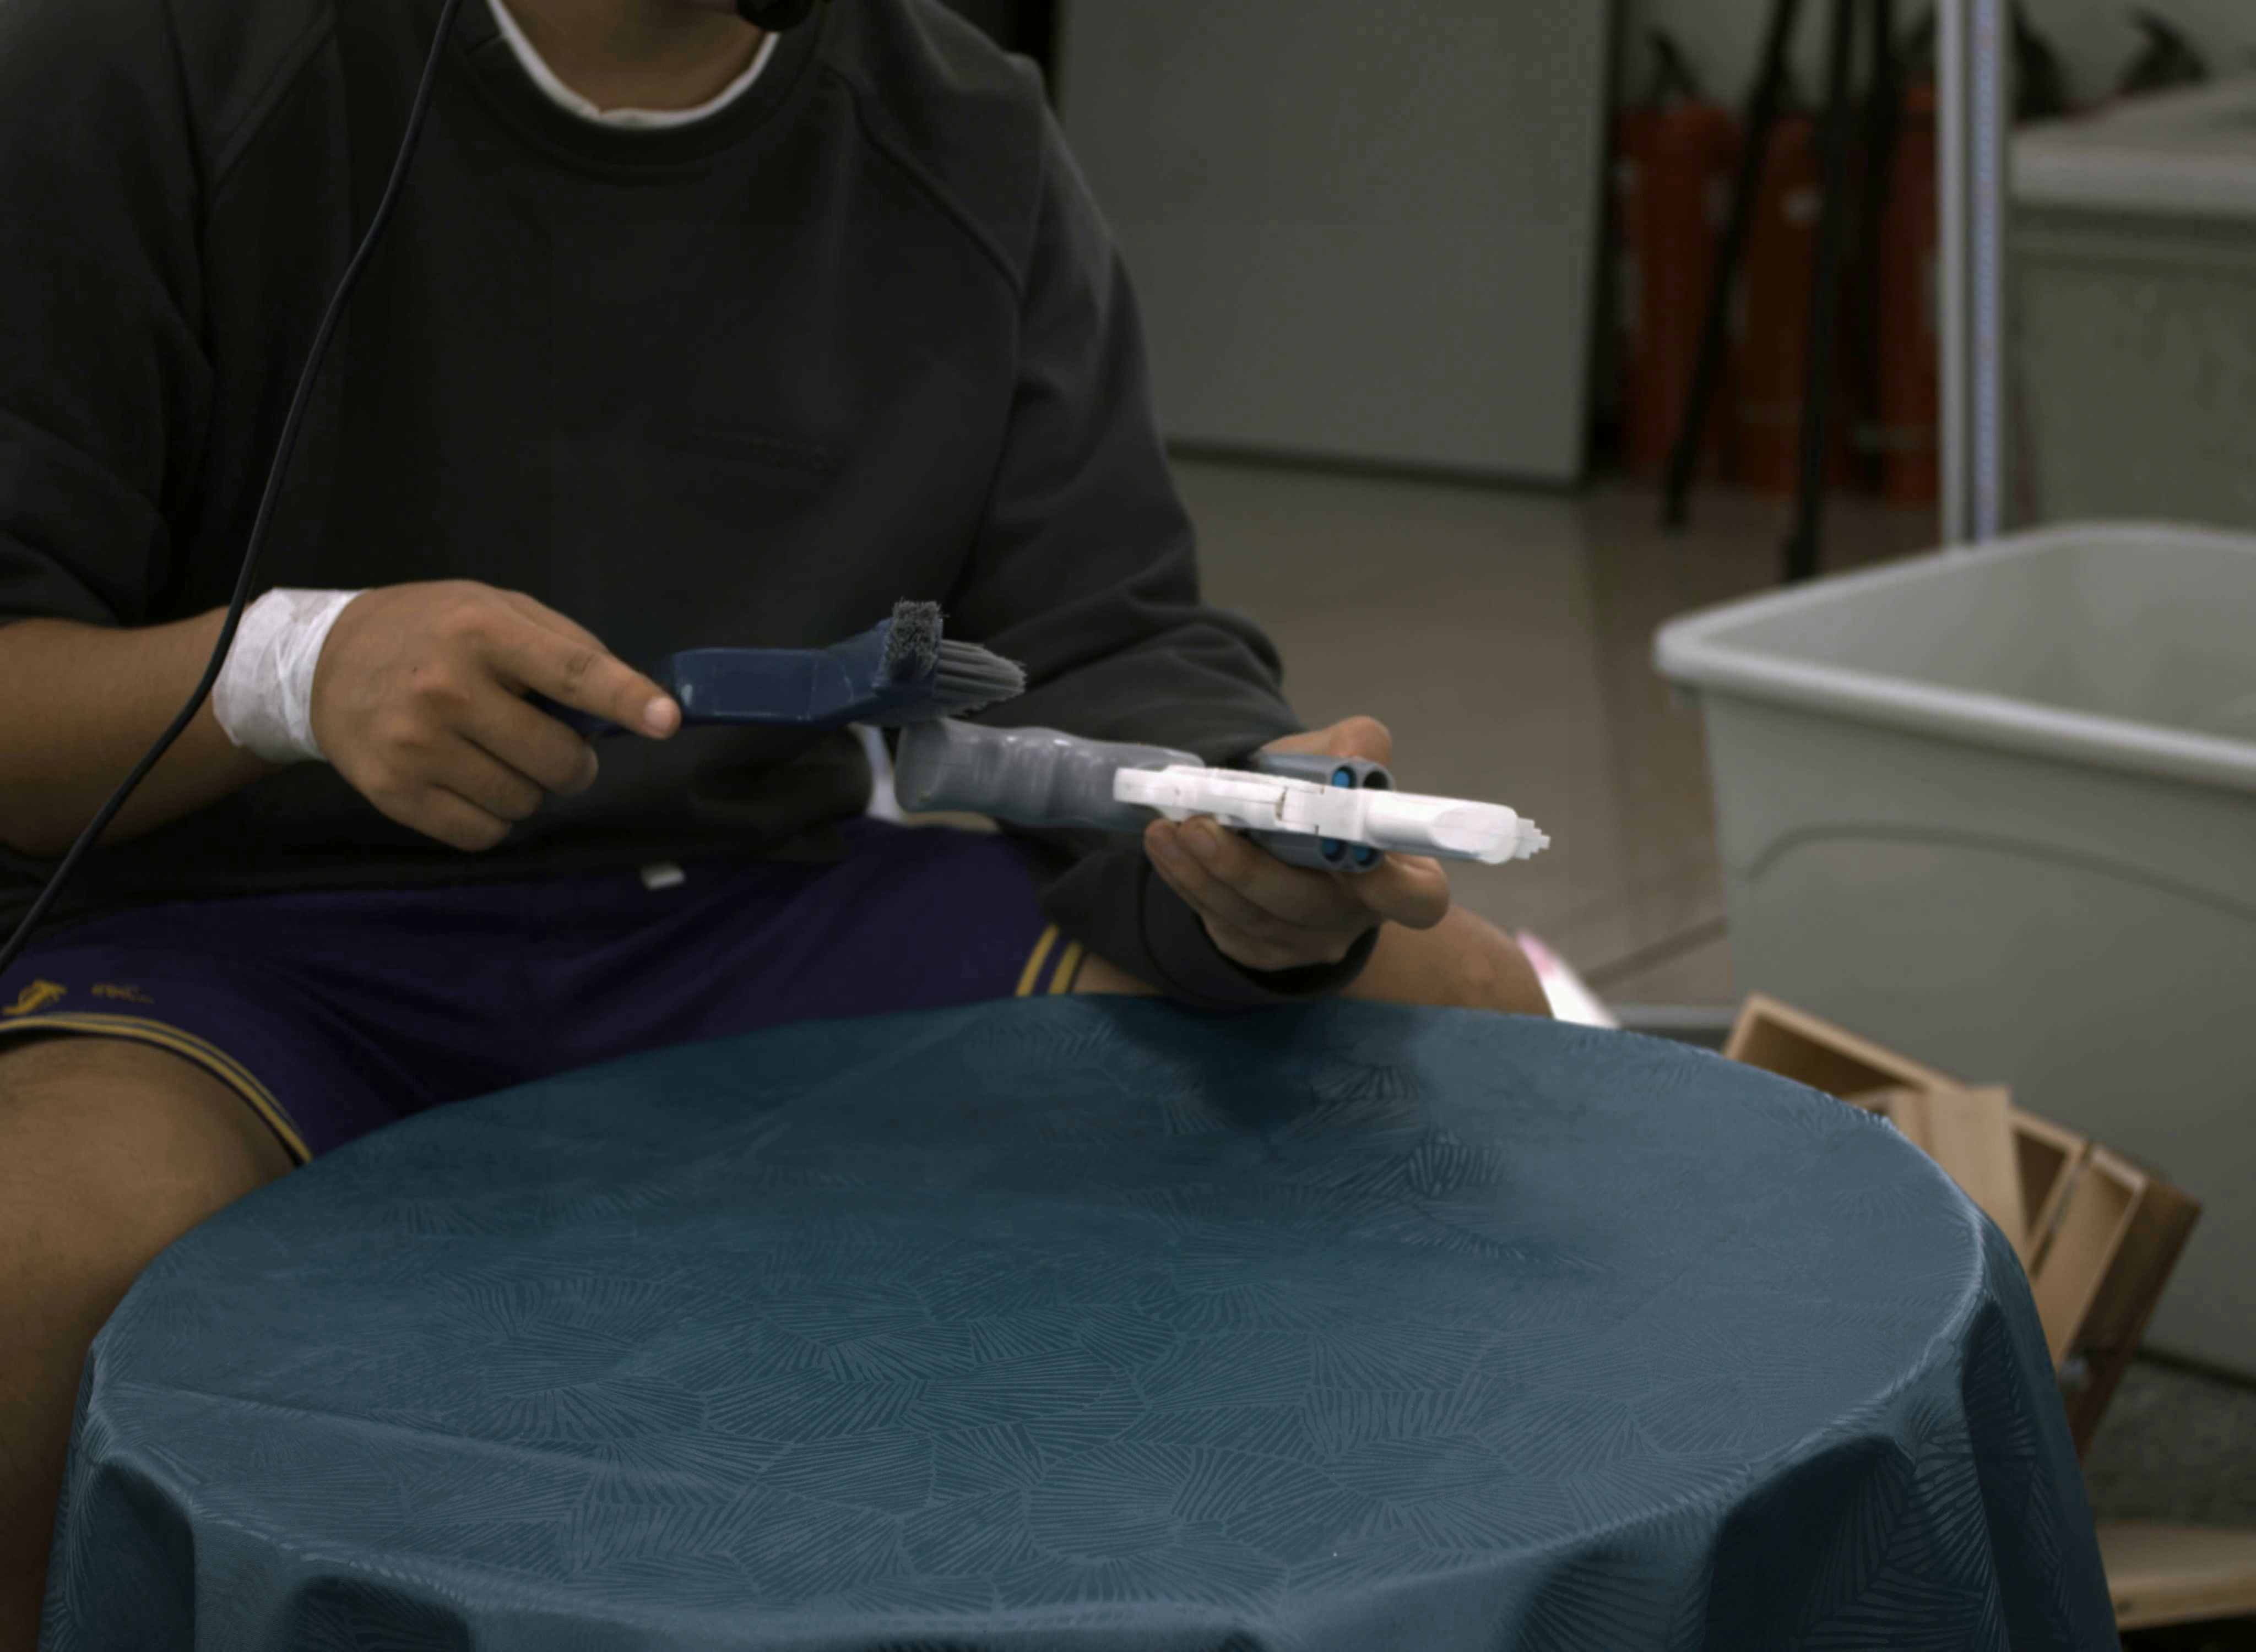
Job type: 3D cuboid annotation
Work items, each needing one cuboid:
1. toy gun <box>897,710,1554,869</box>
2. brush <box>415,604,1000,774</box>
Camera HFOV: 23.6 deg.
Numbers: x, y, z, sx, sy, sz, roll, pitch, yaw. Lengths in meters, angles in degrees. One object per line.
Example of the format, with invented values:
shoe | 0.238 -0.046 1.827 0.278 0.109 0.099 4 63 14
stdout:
toy gun | 0.027 -0.011 1.773 0.138 0.039 0.211 9 -3 -31
brush | -0.158 -0.048 1.817 0.275 0.034 0.094 -4 -13 36
